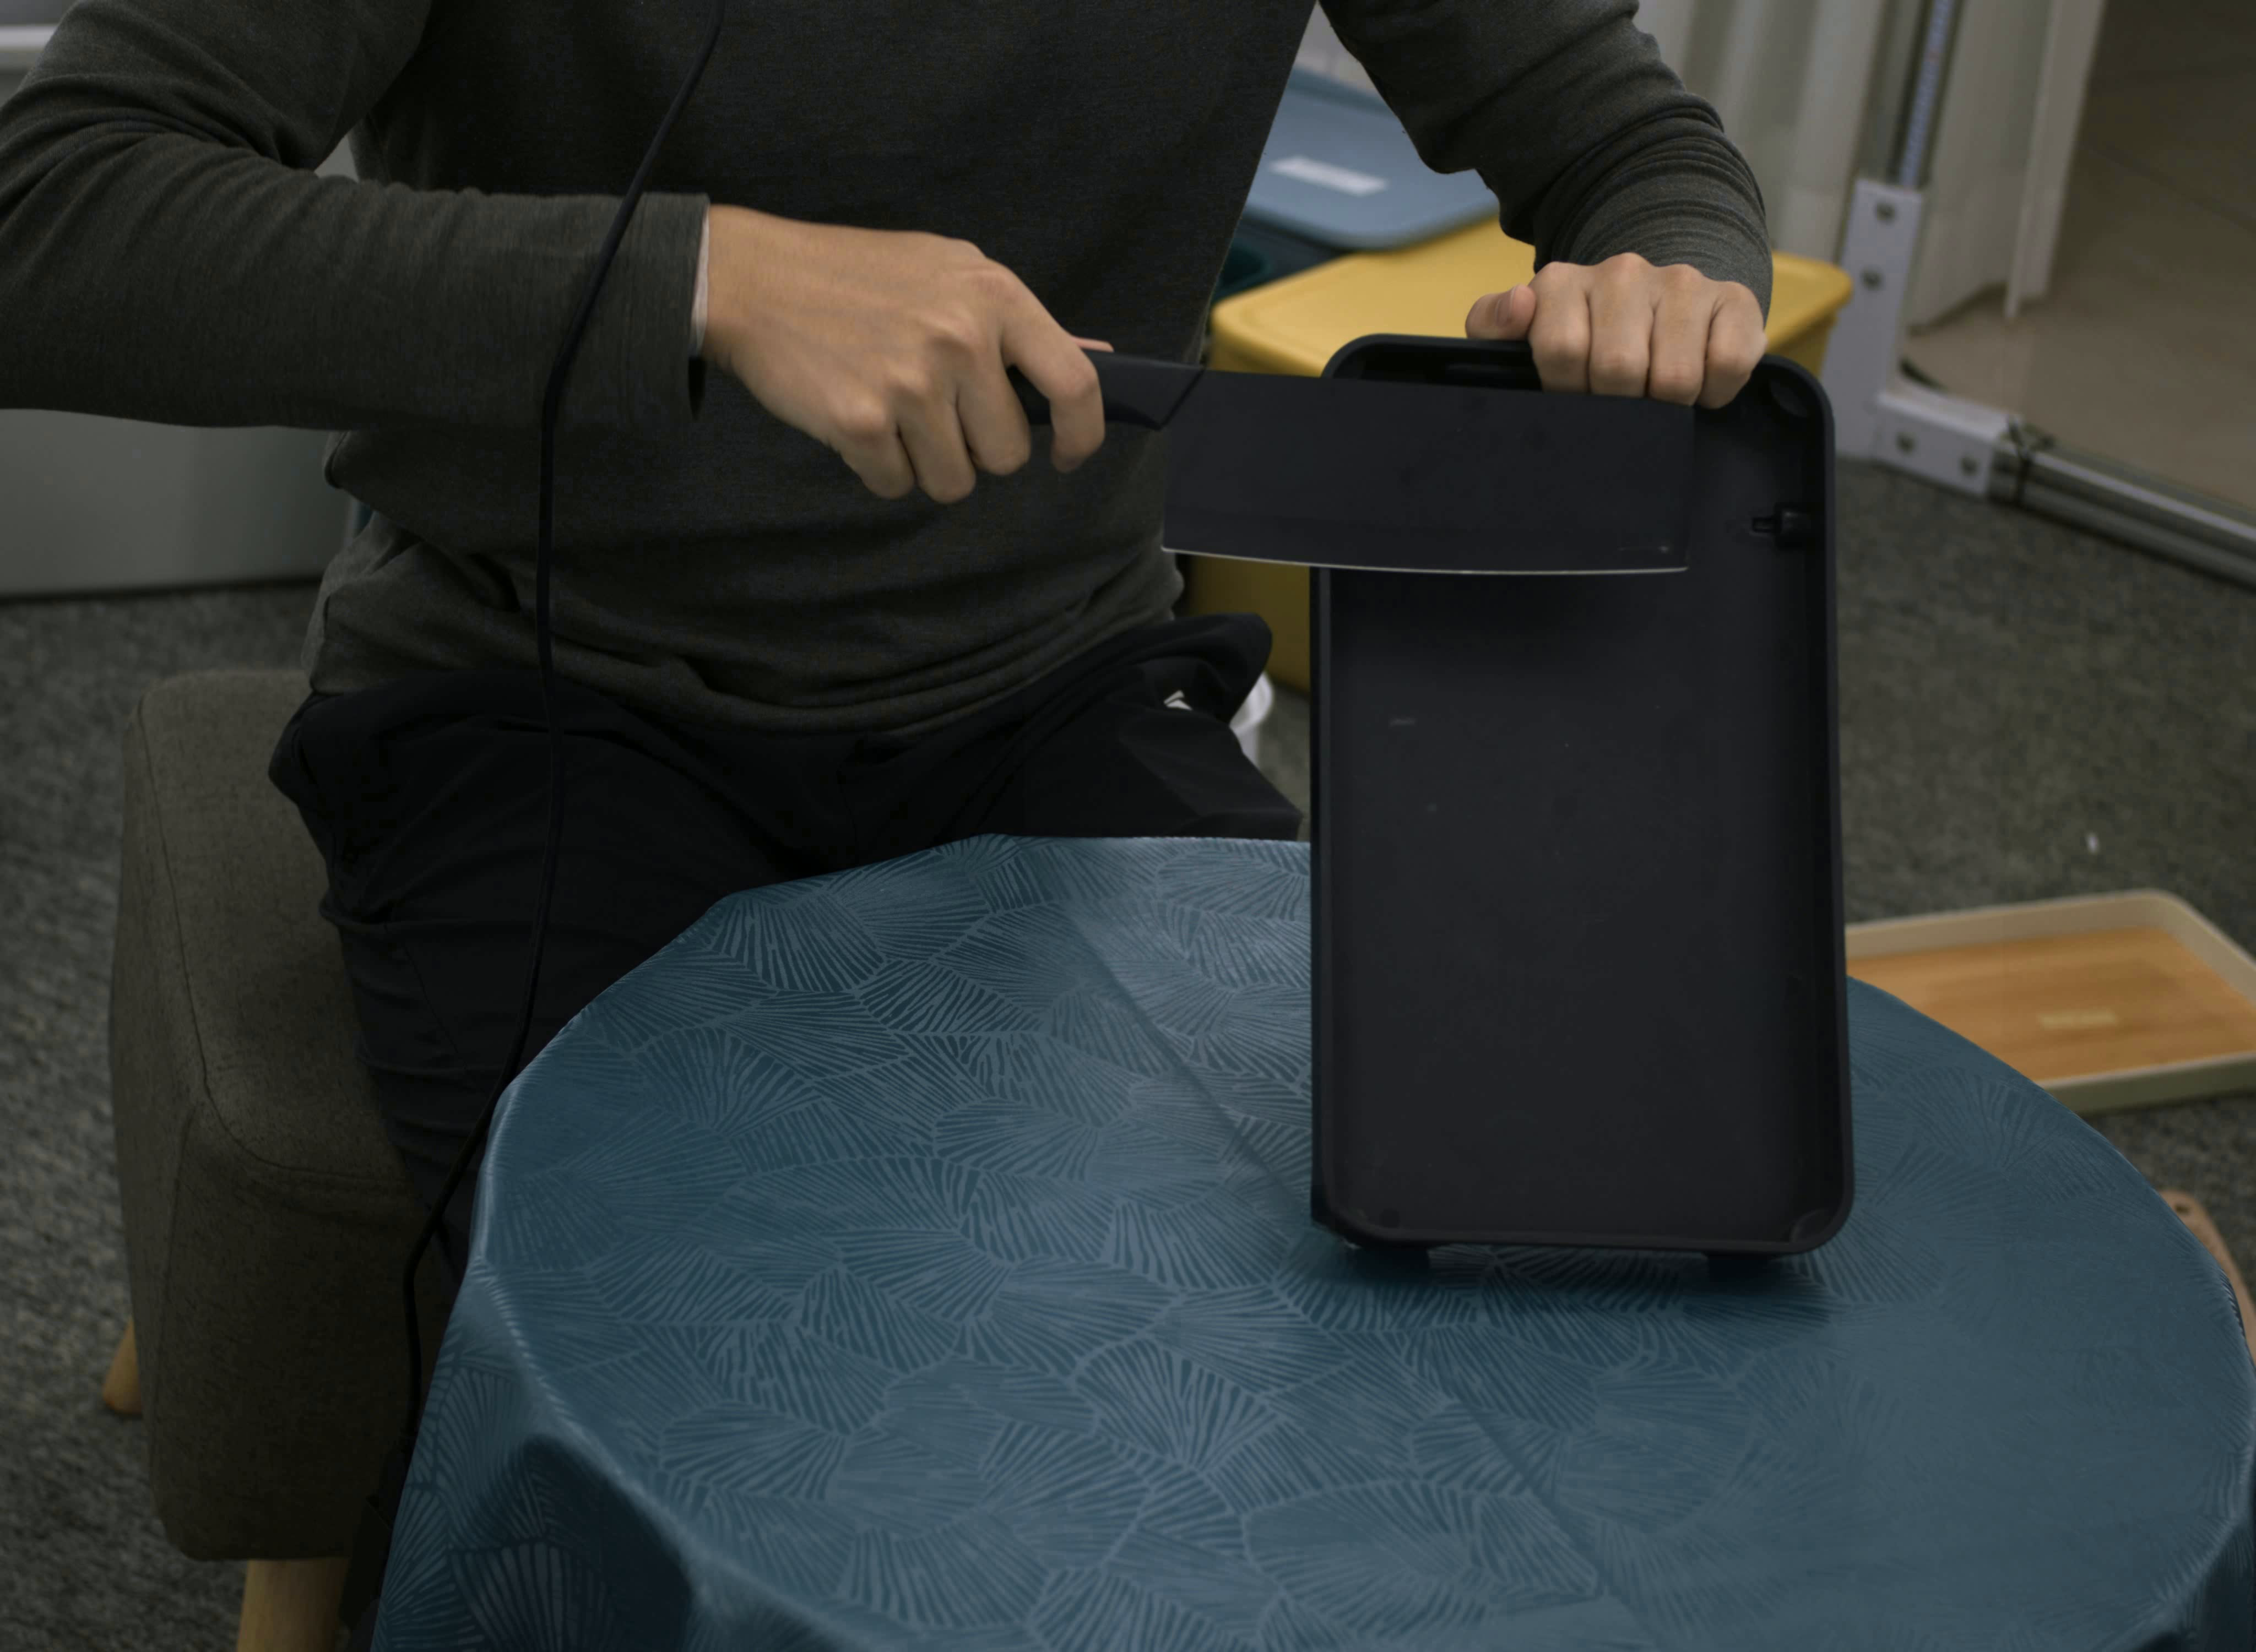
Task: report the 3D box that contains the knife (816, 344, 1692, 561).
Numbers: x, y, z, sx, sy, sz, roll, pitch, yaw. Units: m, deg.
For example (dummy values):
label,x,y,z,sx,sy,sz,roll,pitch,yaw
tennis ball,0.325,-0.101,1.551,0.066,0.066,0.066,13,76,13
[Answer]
label,x,y,z,sx,sy,sz,roll,pitch,yaw
knife,0.044,-0.128,1.822,0.301,0.081,0.021,7,-14,1

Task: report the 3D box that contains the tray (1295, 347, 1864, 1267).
label,x,y,z,sx,sy,sz,roll,pitch,yaw
tray,0.151,-0.006,1.820,0.183,0.320,0.037,1,-15,-8
